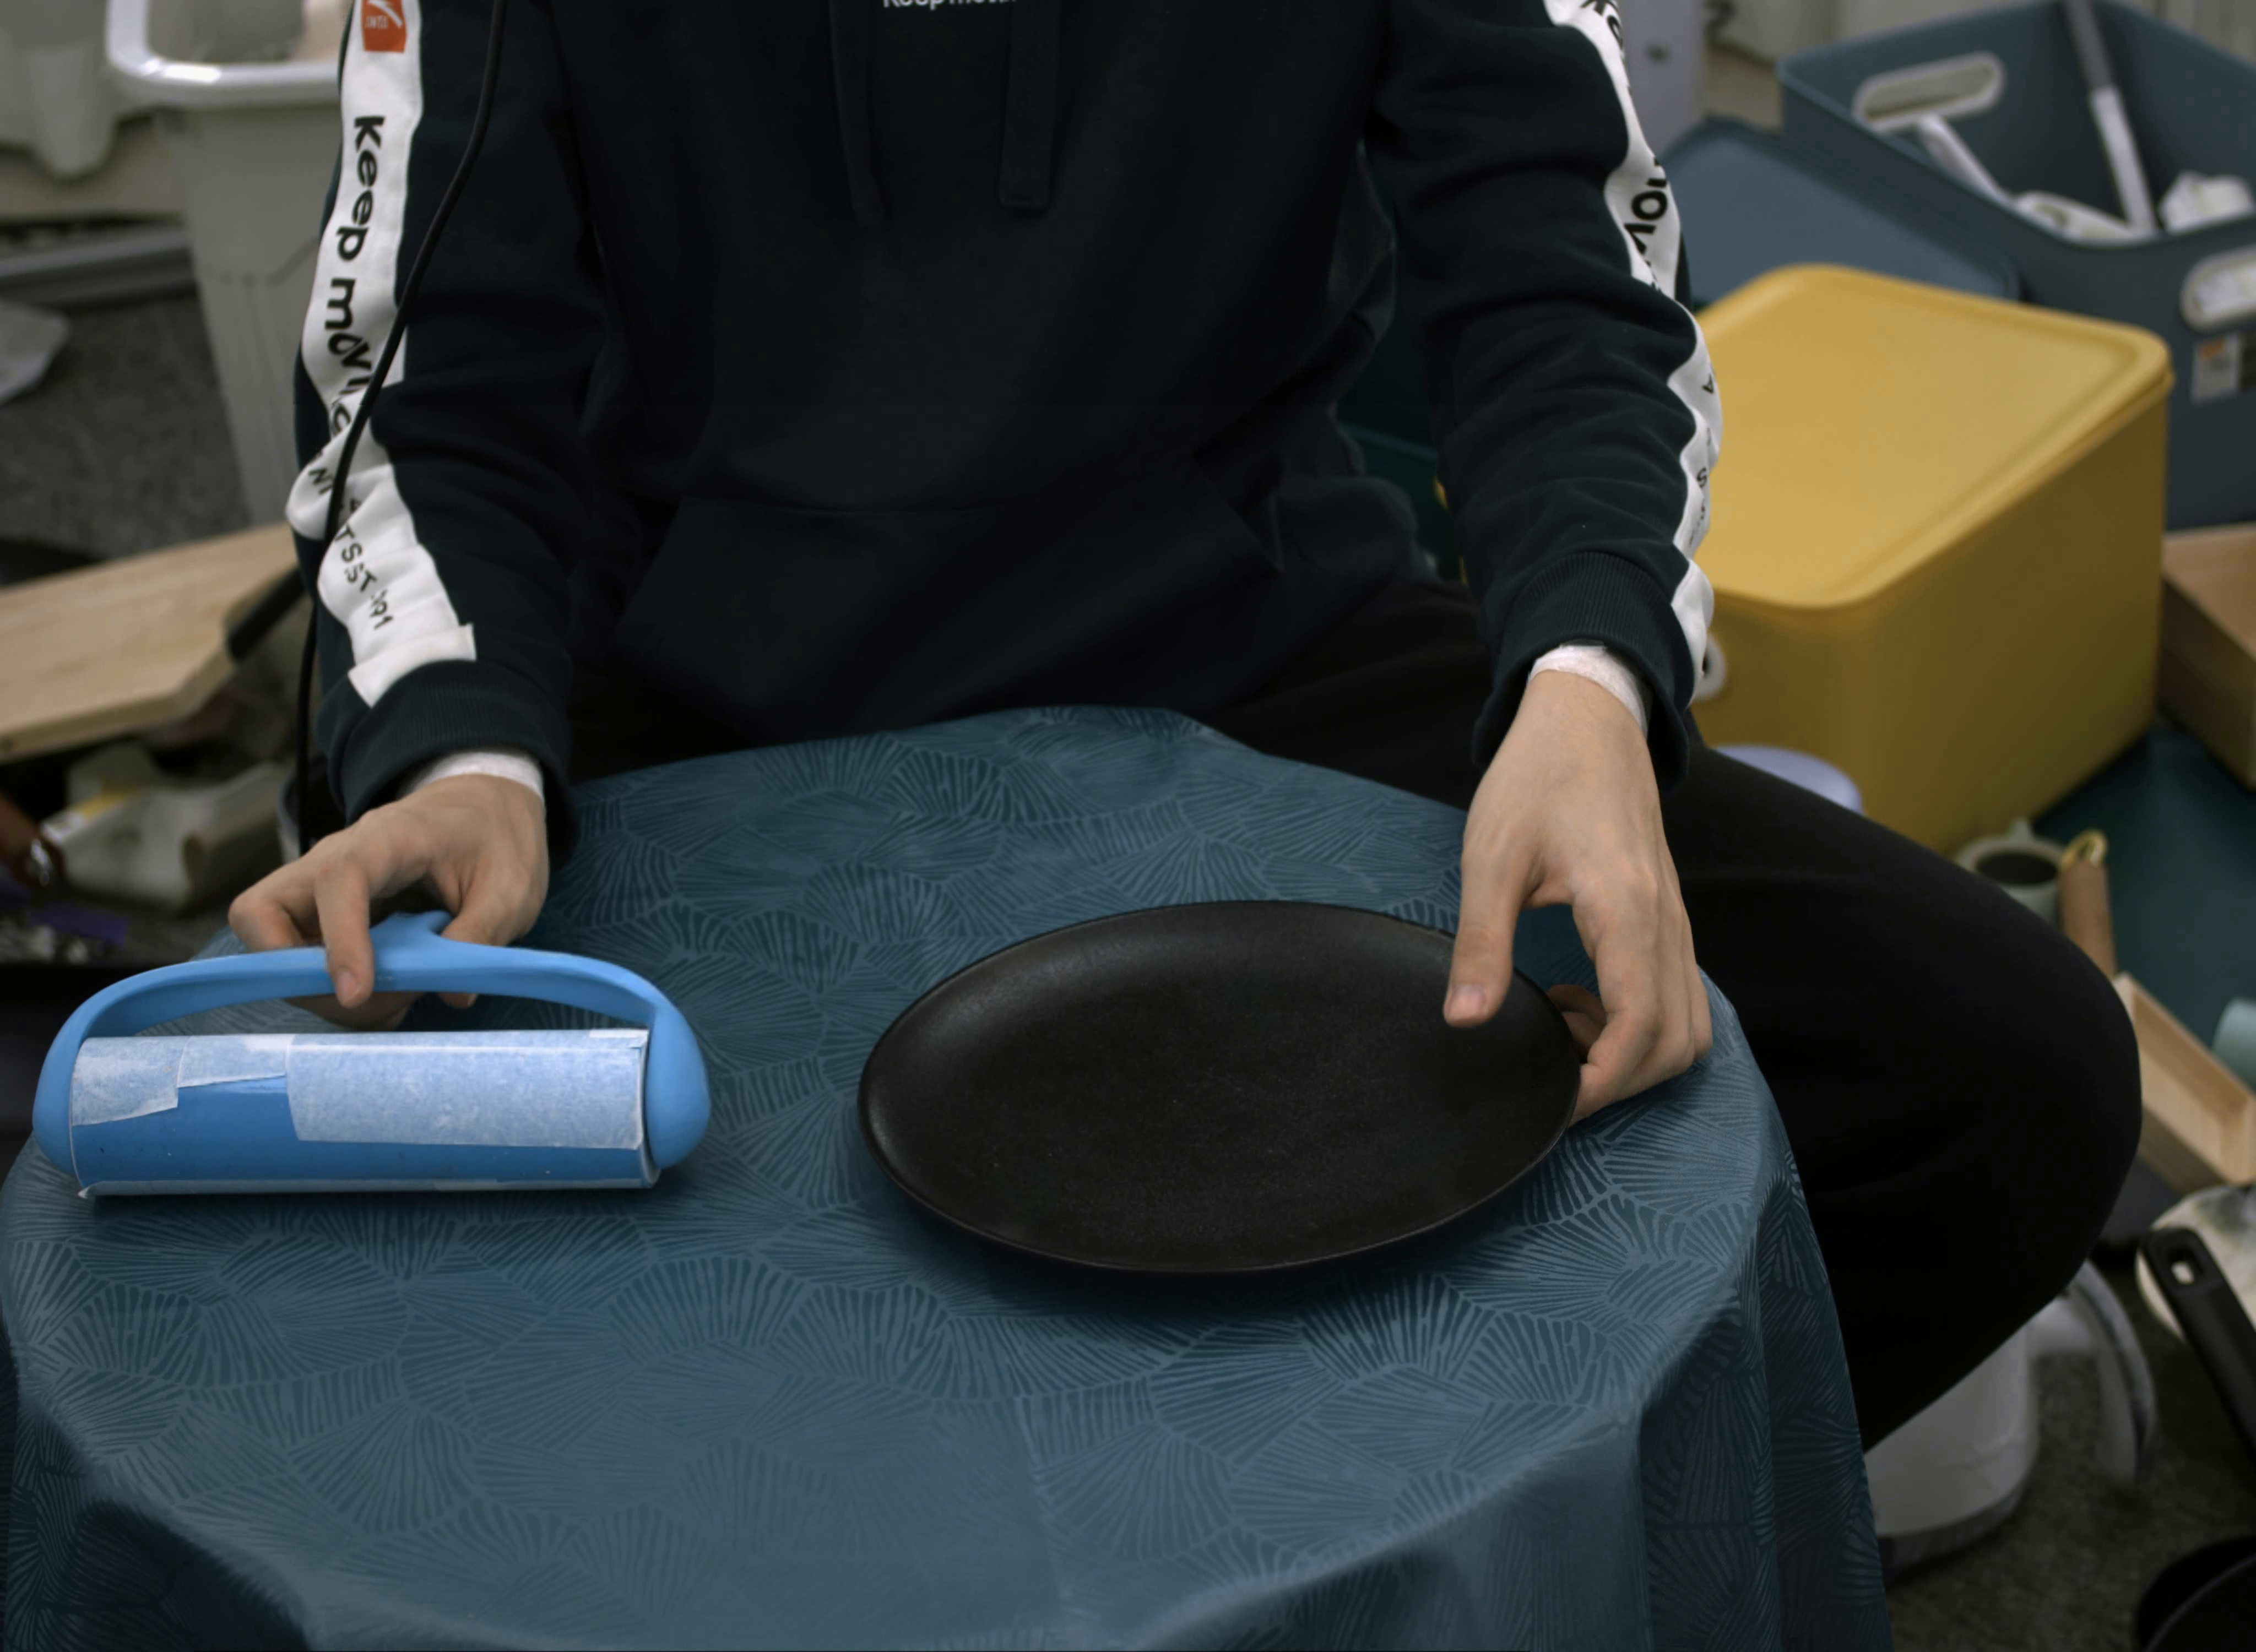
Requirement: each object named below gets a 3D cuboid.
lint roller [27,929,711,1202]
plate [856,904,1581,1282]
[{"bbox_3d":[-0.252,0.069,1.926,0.228,0.067,0.183,-3,26,1],"label":"lint roller"},{"bbox_3d":[0.031,0.094,1.885,0.243,0.023,0.248,-2,27,1],"label":"plate"}]
